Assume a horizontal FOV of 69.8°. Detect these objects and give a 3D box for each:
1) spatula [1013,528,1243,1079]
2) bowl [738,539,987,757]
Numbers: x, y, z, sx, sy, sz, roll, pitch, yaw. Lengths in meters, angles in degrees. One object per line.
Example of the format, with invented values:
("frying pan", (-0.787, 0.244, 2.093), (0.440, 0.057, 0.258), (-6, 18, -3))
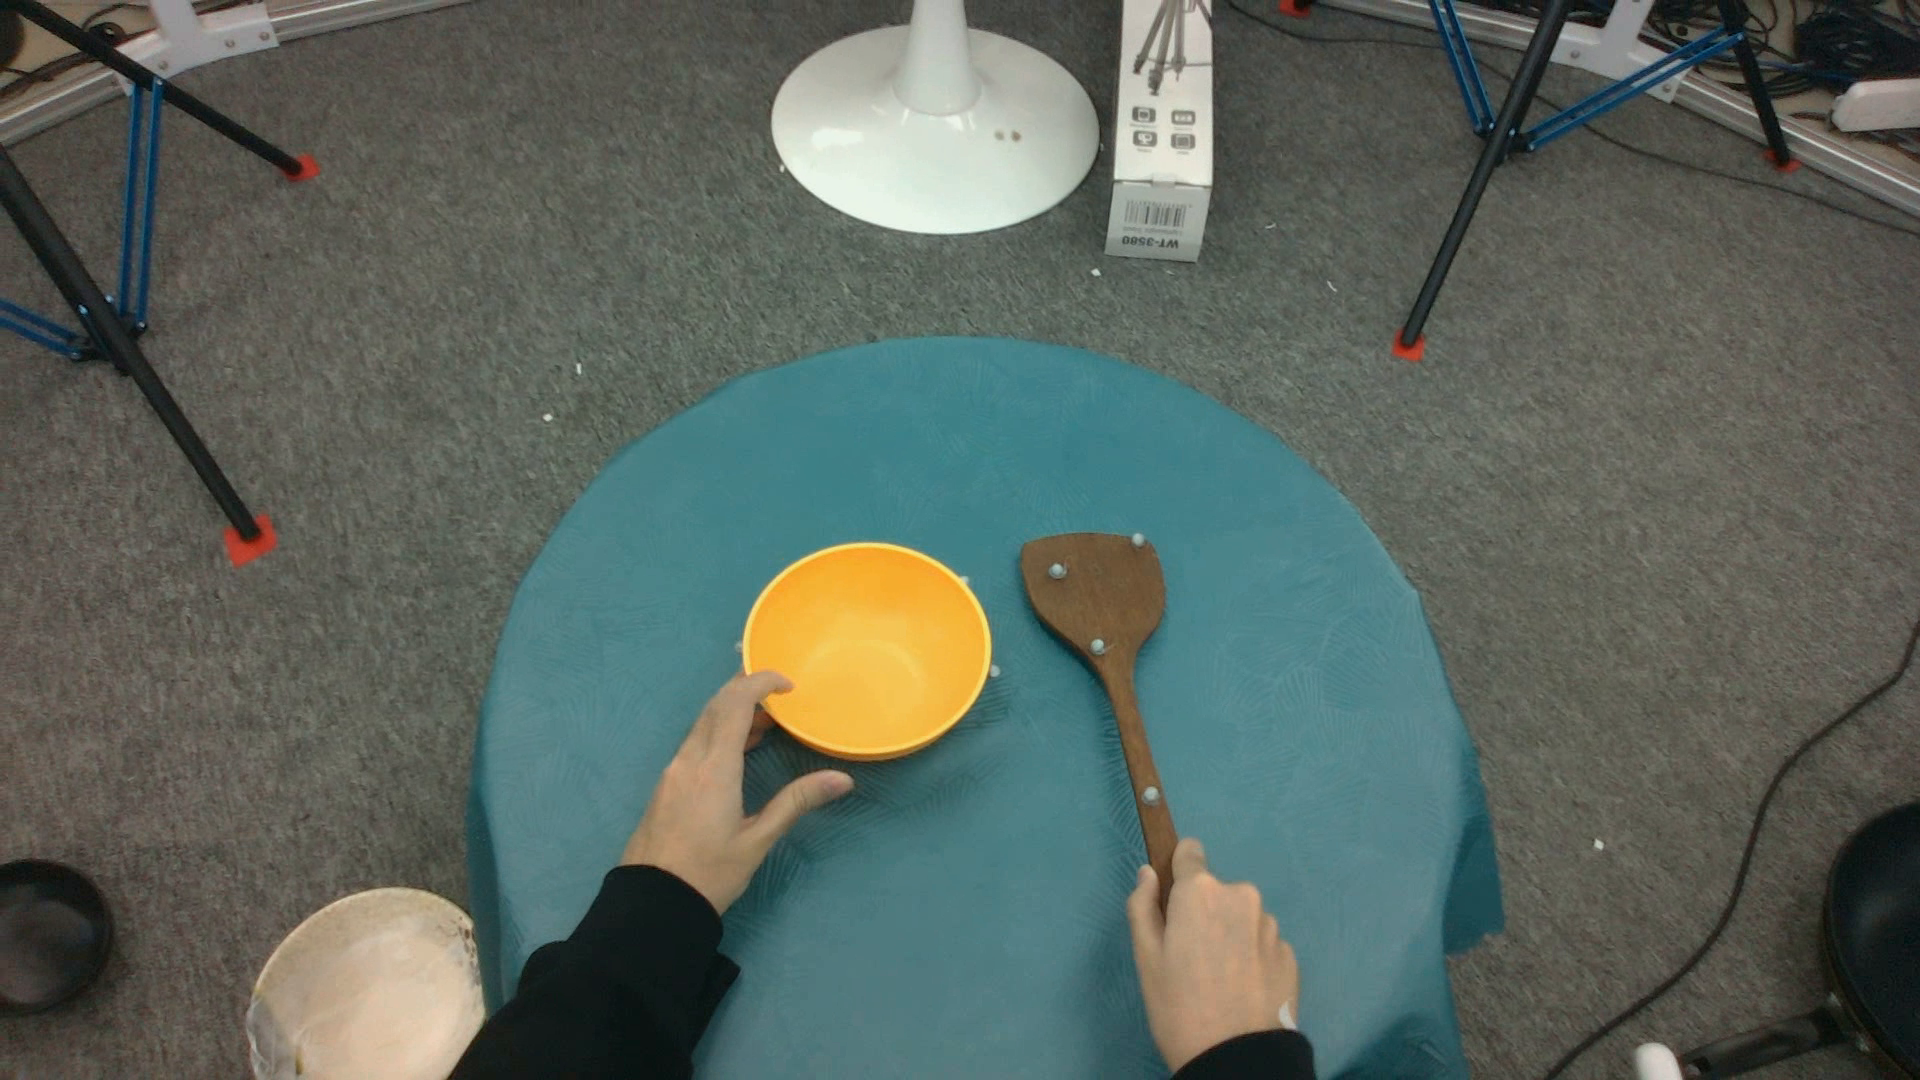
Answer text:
("spatula", (0.103, 0.132, 0.795), (0.096, 0.016, 0.387), (-3, 46, -7))
("bowl", (-0.057, 0.074, 0.824), (0.145, 0.060, 0.146), (0, 54, 0))
